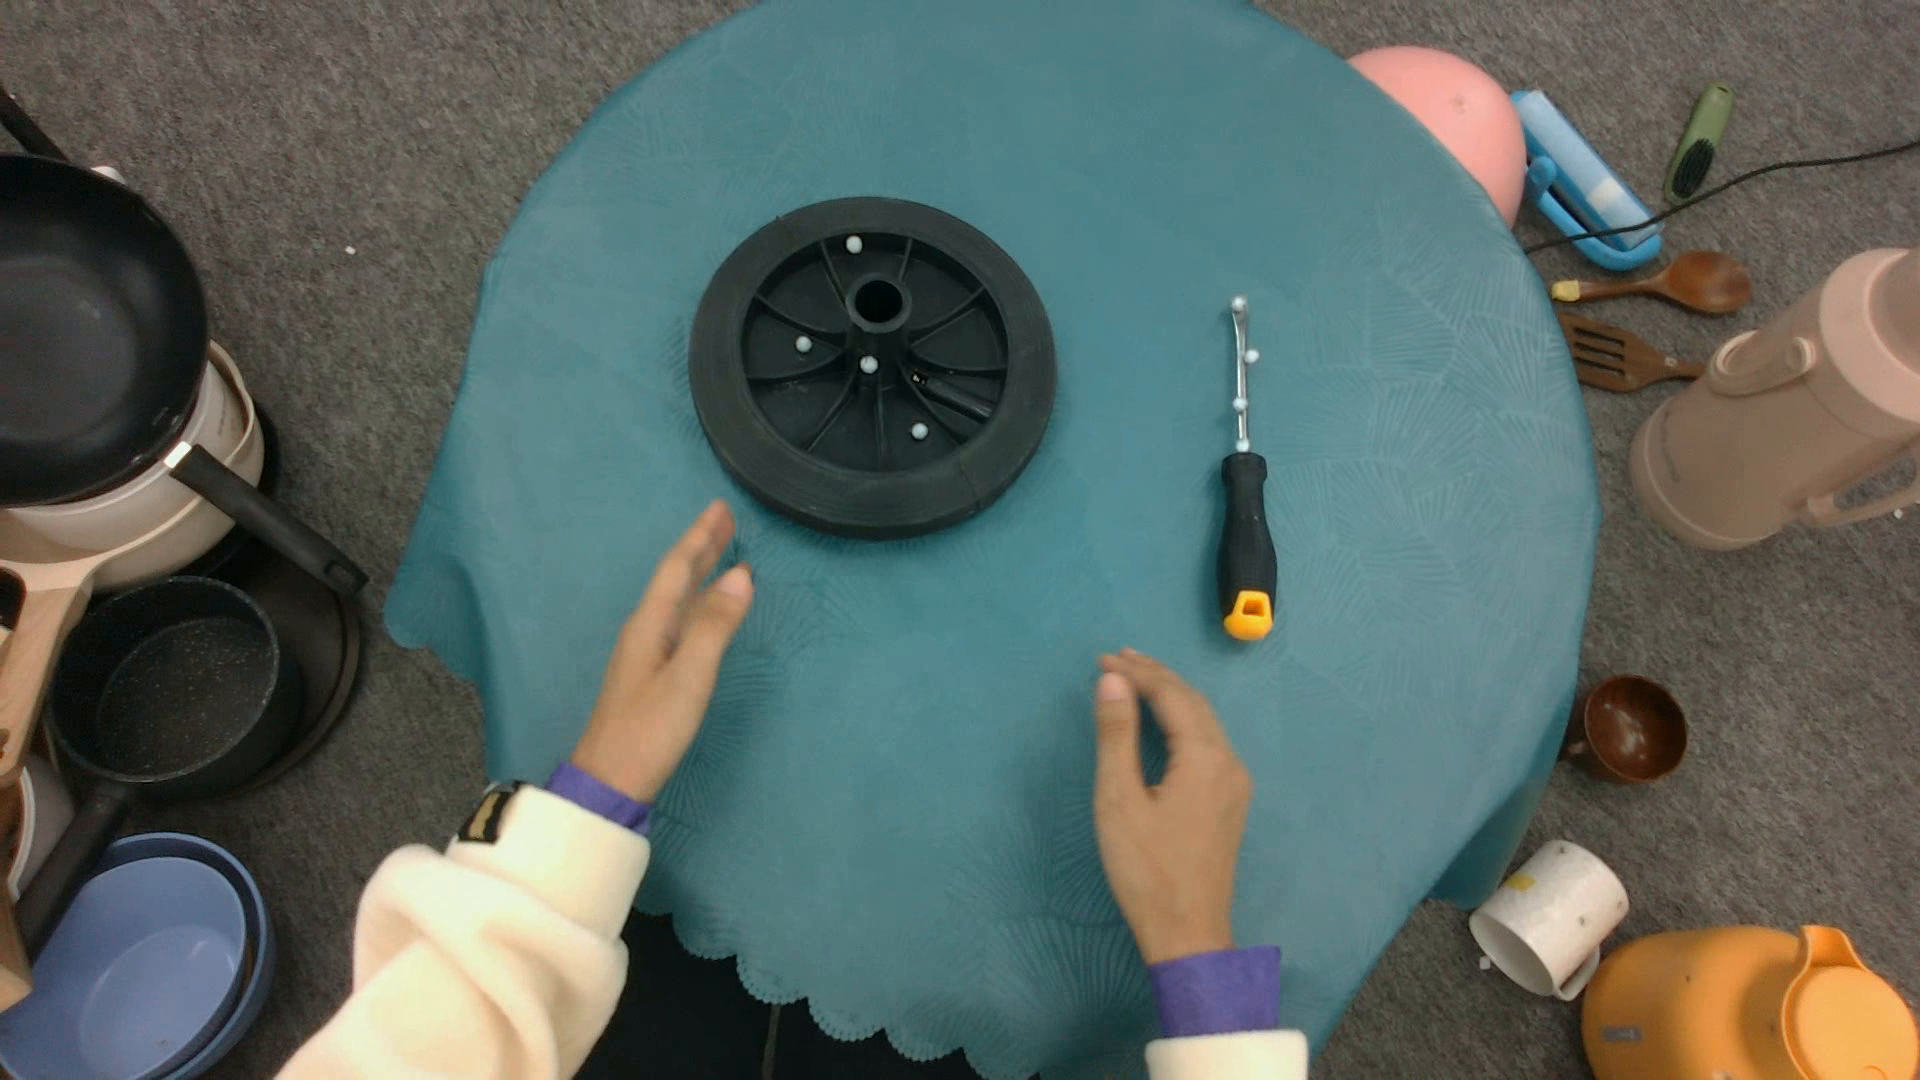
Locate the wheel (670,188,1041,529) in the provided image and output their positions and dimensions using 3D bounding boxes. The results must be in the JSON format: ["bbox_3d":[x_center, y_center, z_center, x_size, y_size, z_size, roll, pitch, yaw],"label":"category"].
[{"bbox_3d":[-0.049,-0.103,0.688,0.190,0.079,0.188,4,70,-8],"label":"wheel"}]

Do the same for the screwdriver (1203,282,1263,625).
[{"bbox_3d":[0.143,-0.050,0.717,0.031,0.031,0.198,7,67,-3],"label":"screwdriver"}]
